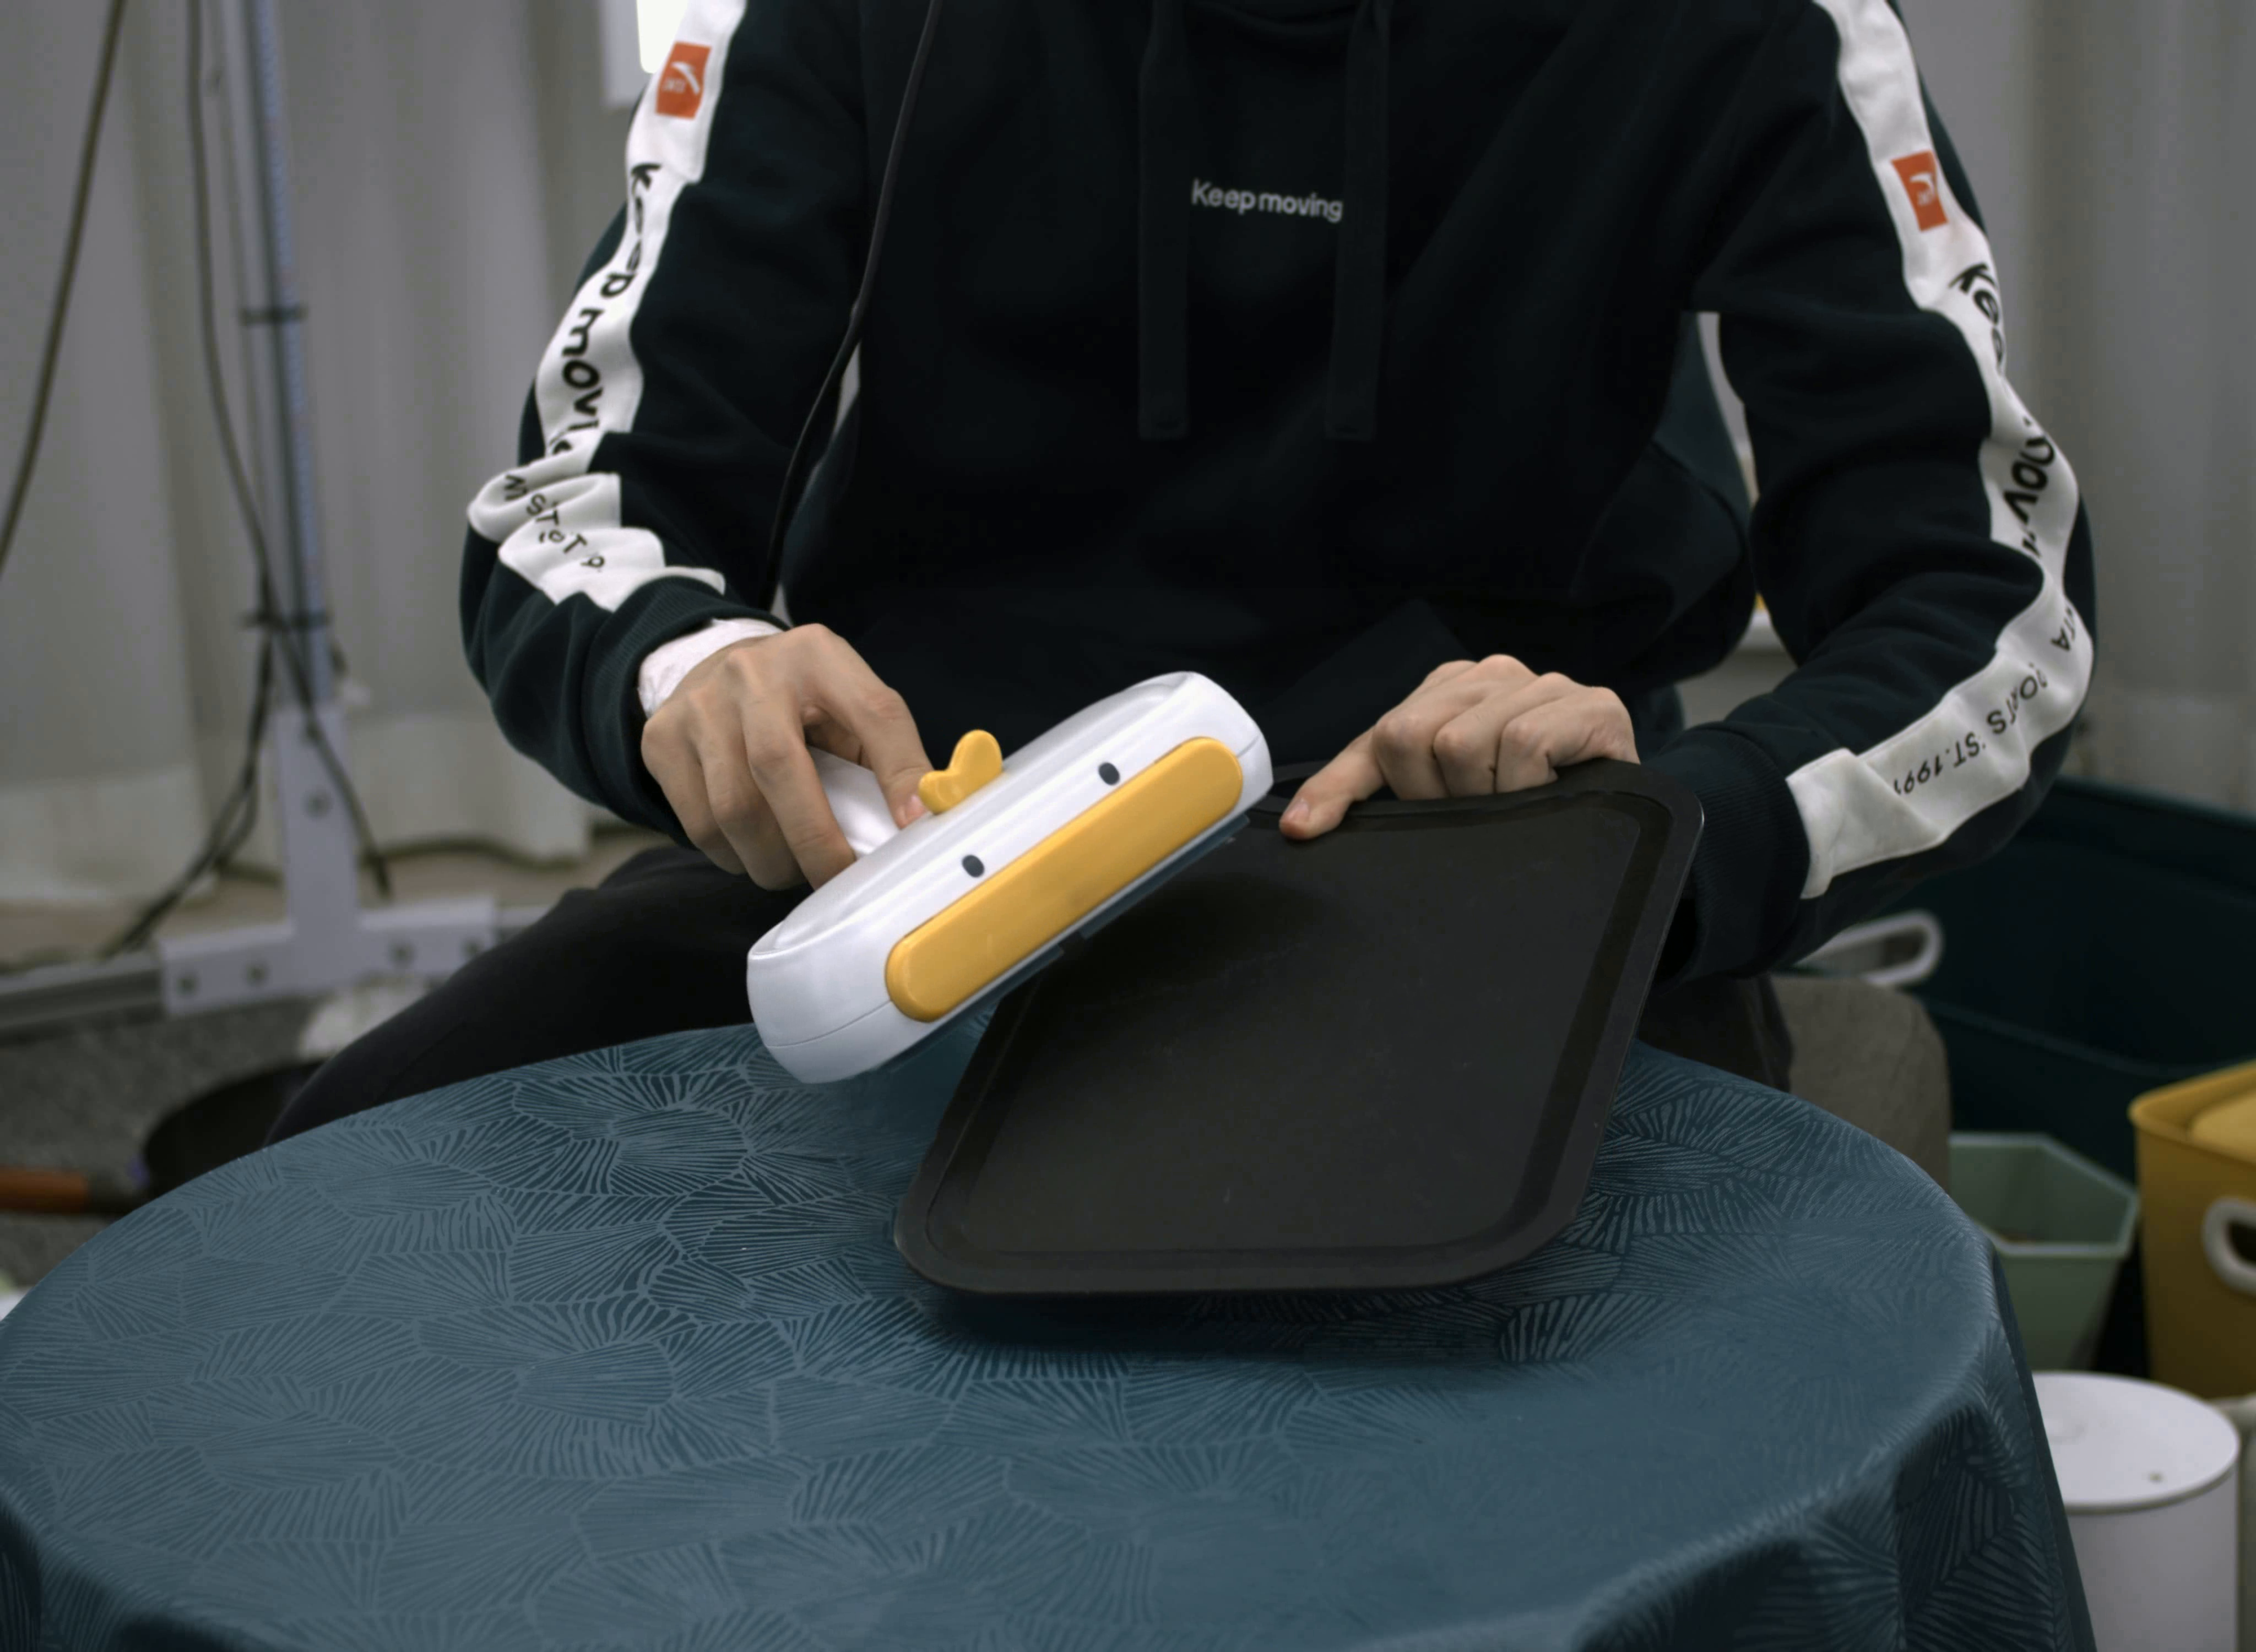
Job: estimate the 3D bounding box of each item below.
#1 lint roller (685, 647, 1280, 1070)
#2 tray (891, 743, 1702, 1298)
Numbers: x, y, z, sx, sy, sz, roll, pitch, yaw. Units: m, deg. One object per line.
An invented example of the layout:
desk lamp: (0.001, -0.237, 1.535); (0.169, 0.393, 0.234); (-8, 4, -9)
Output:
lint roller: (-0.071, 0.004, 1.759); (0.194, 0.073, 0.193); (-42, 24, -30)
tray: (0.058, 0.052, 1.693); (0.211, 0.010, 0.328); (-2, 29, 18)
